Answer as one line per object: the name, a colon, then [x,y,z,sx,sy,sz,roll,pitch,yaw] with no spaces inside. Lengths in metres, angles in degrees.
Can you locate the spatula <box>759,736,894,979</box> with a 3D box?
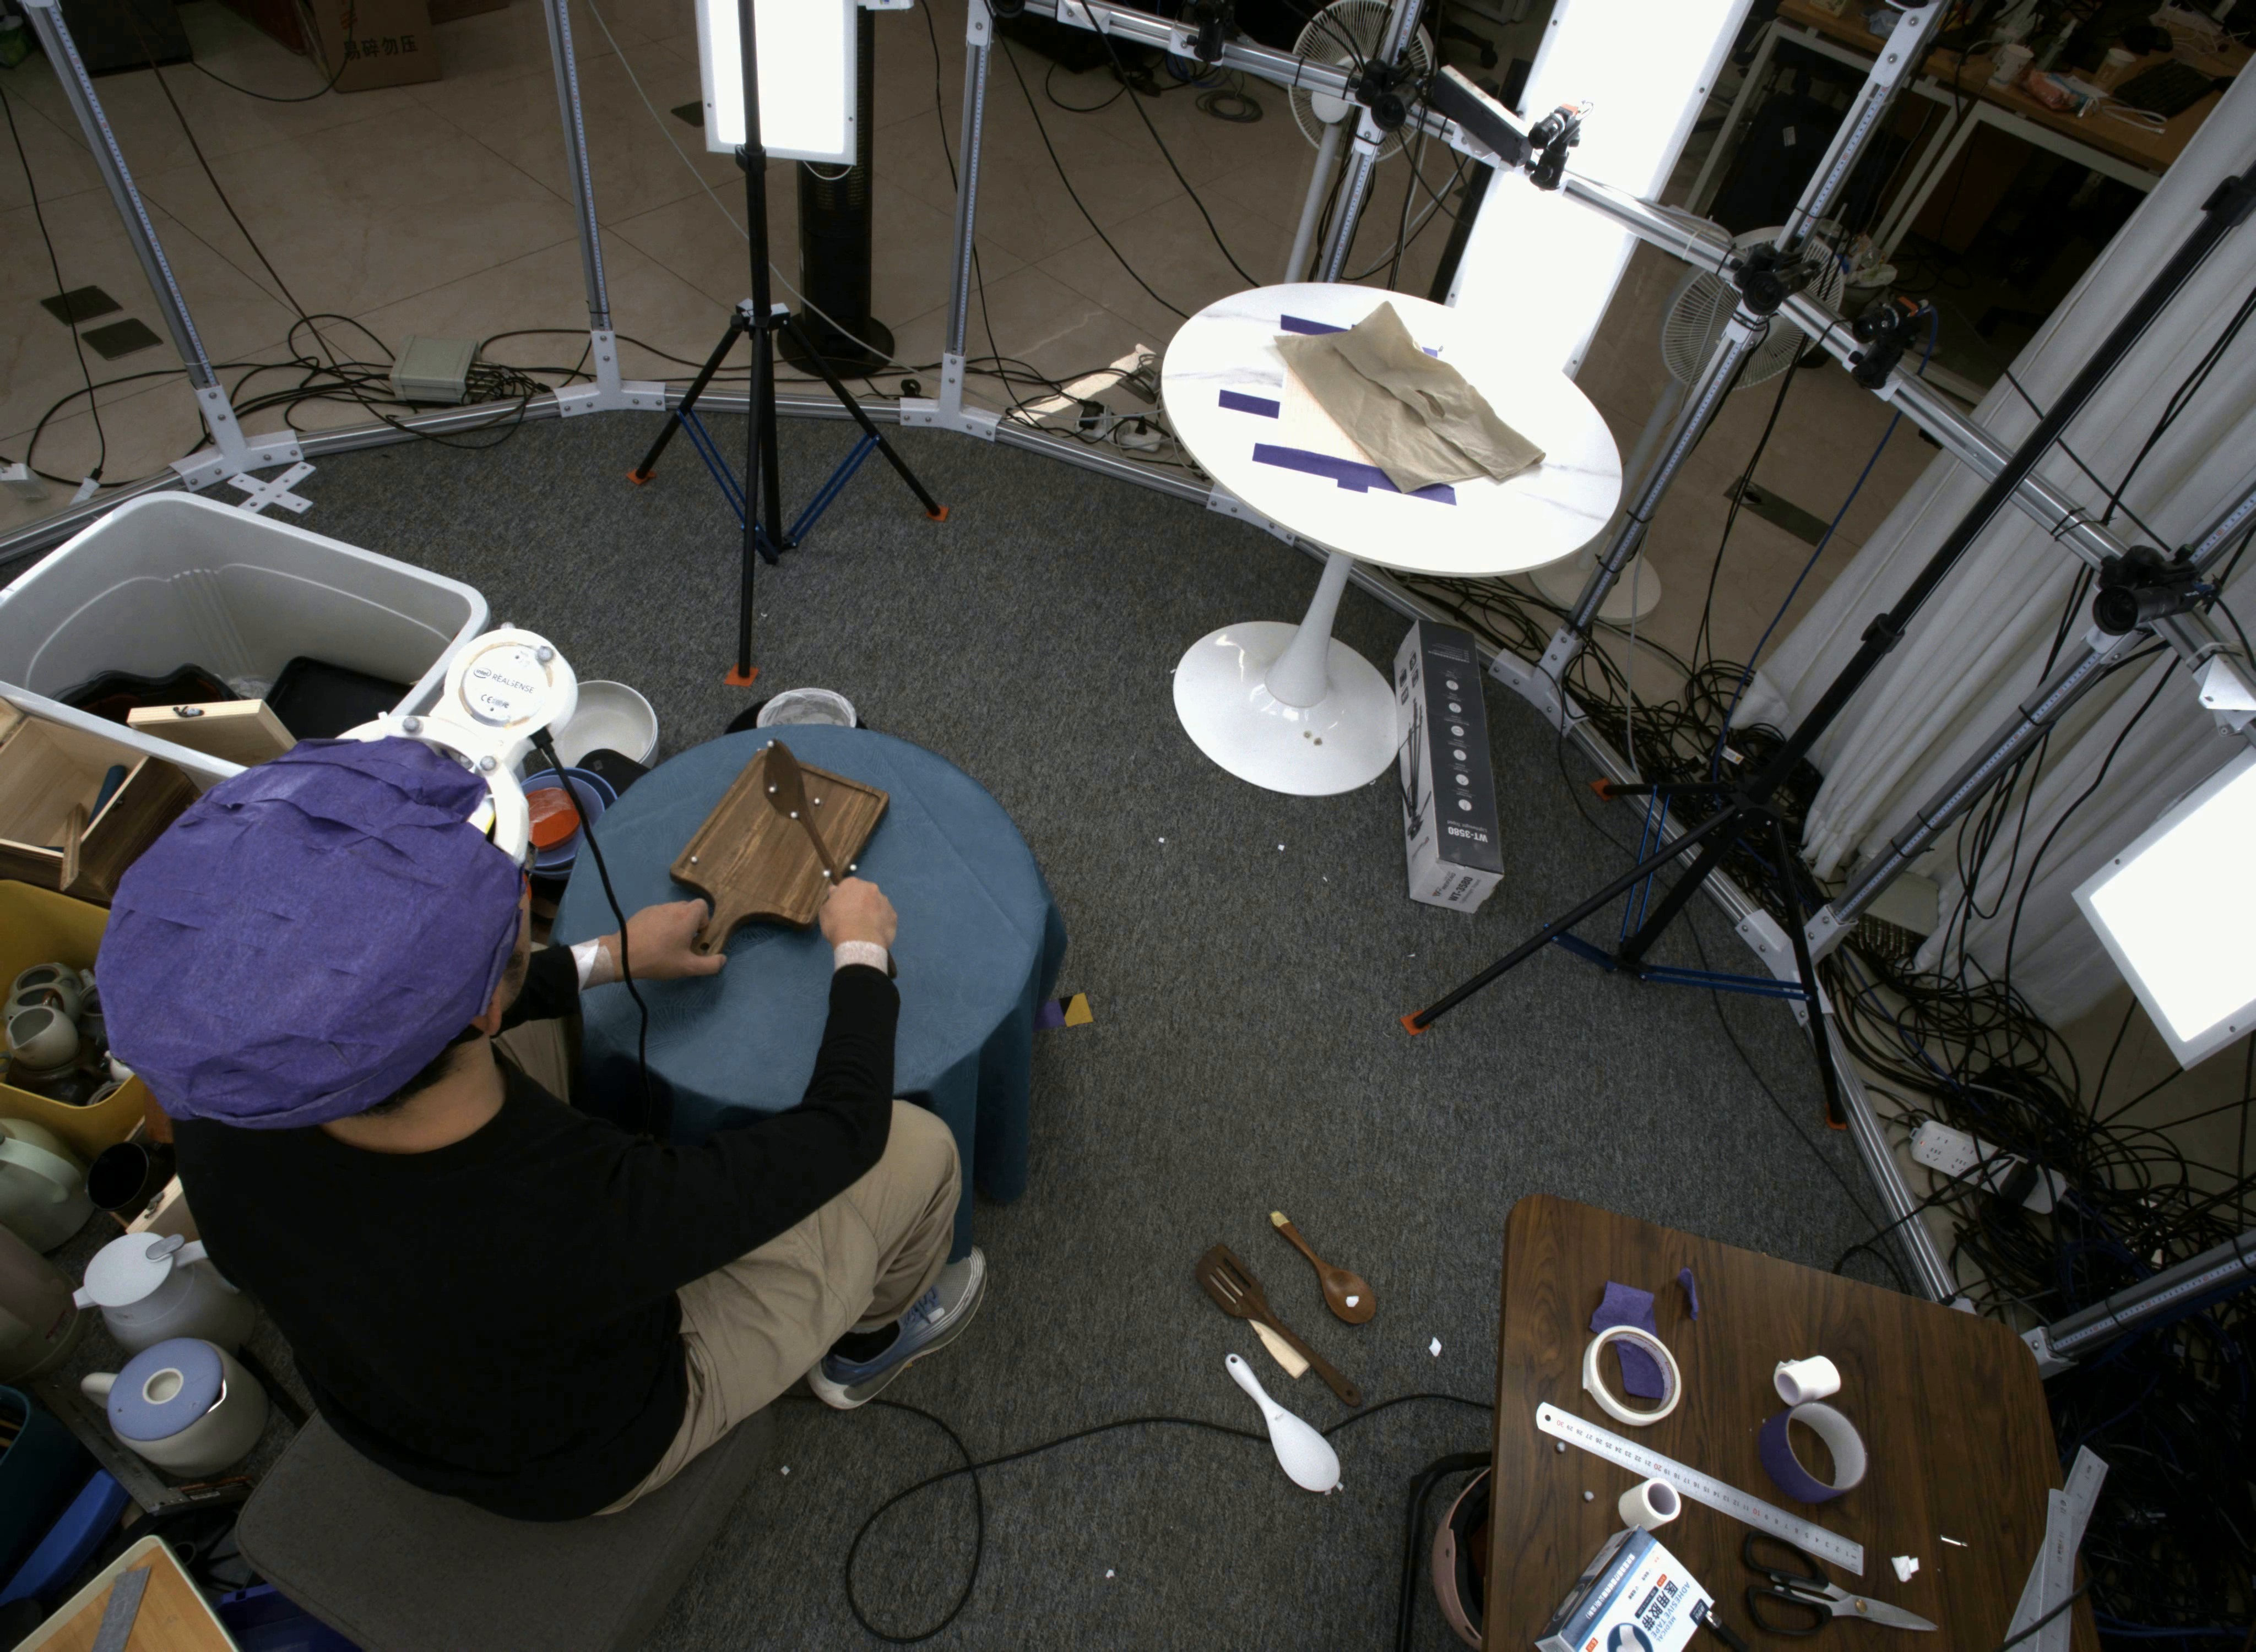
spatula: [-0.366,0.038,1.550,0.016,0.098,0.374,-12,51,-36]

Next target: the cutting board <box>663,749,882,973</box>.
cutting board: [-0.468,0.045,1.644,0.199,0.024,0.348,20,47,1]
